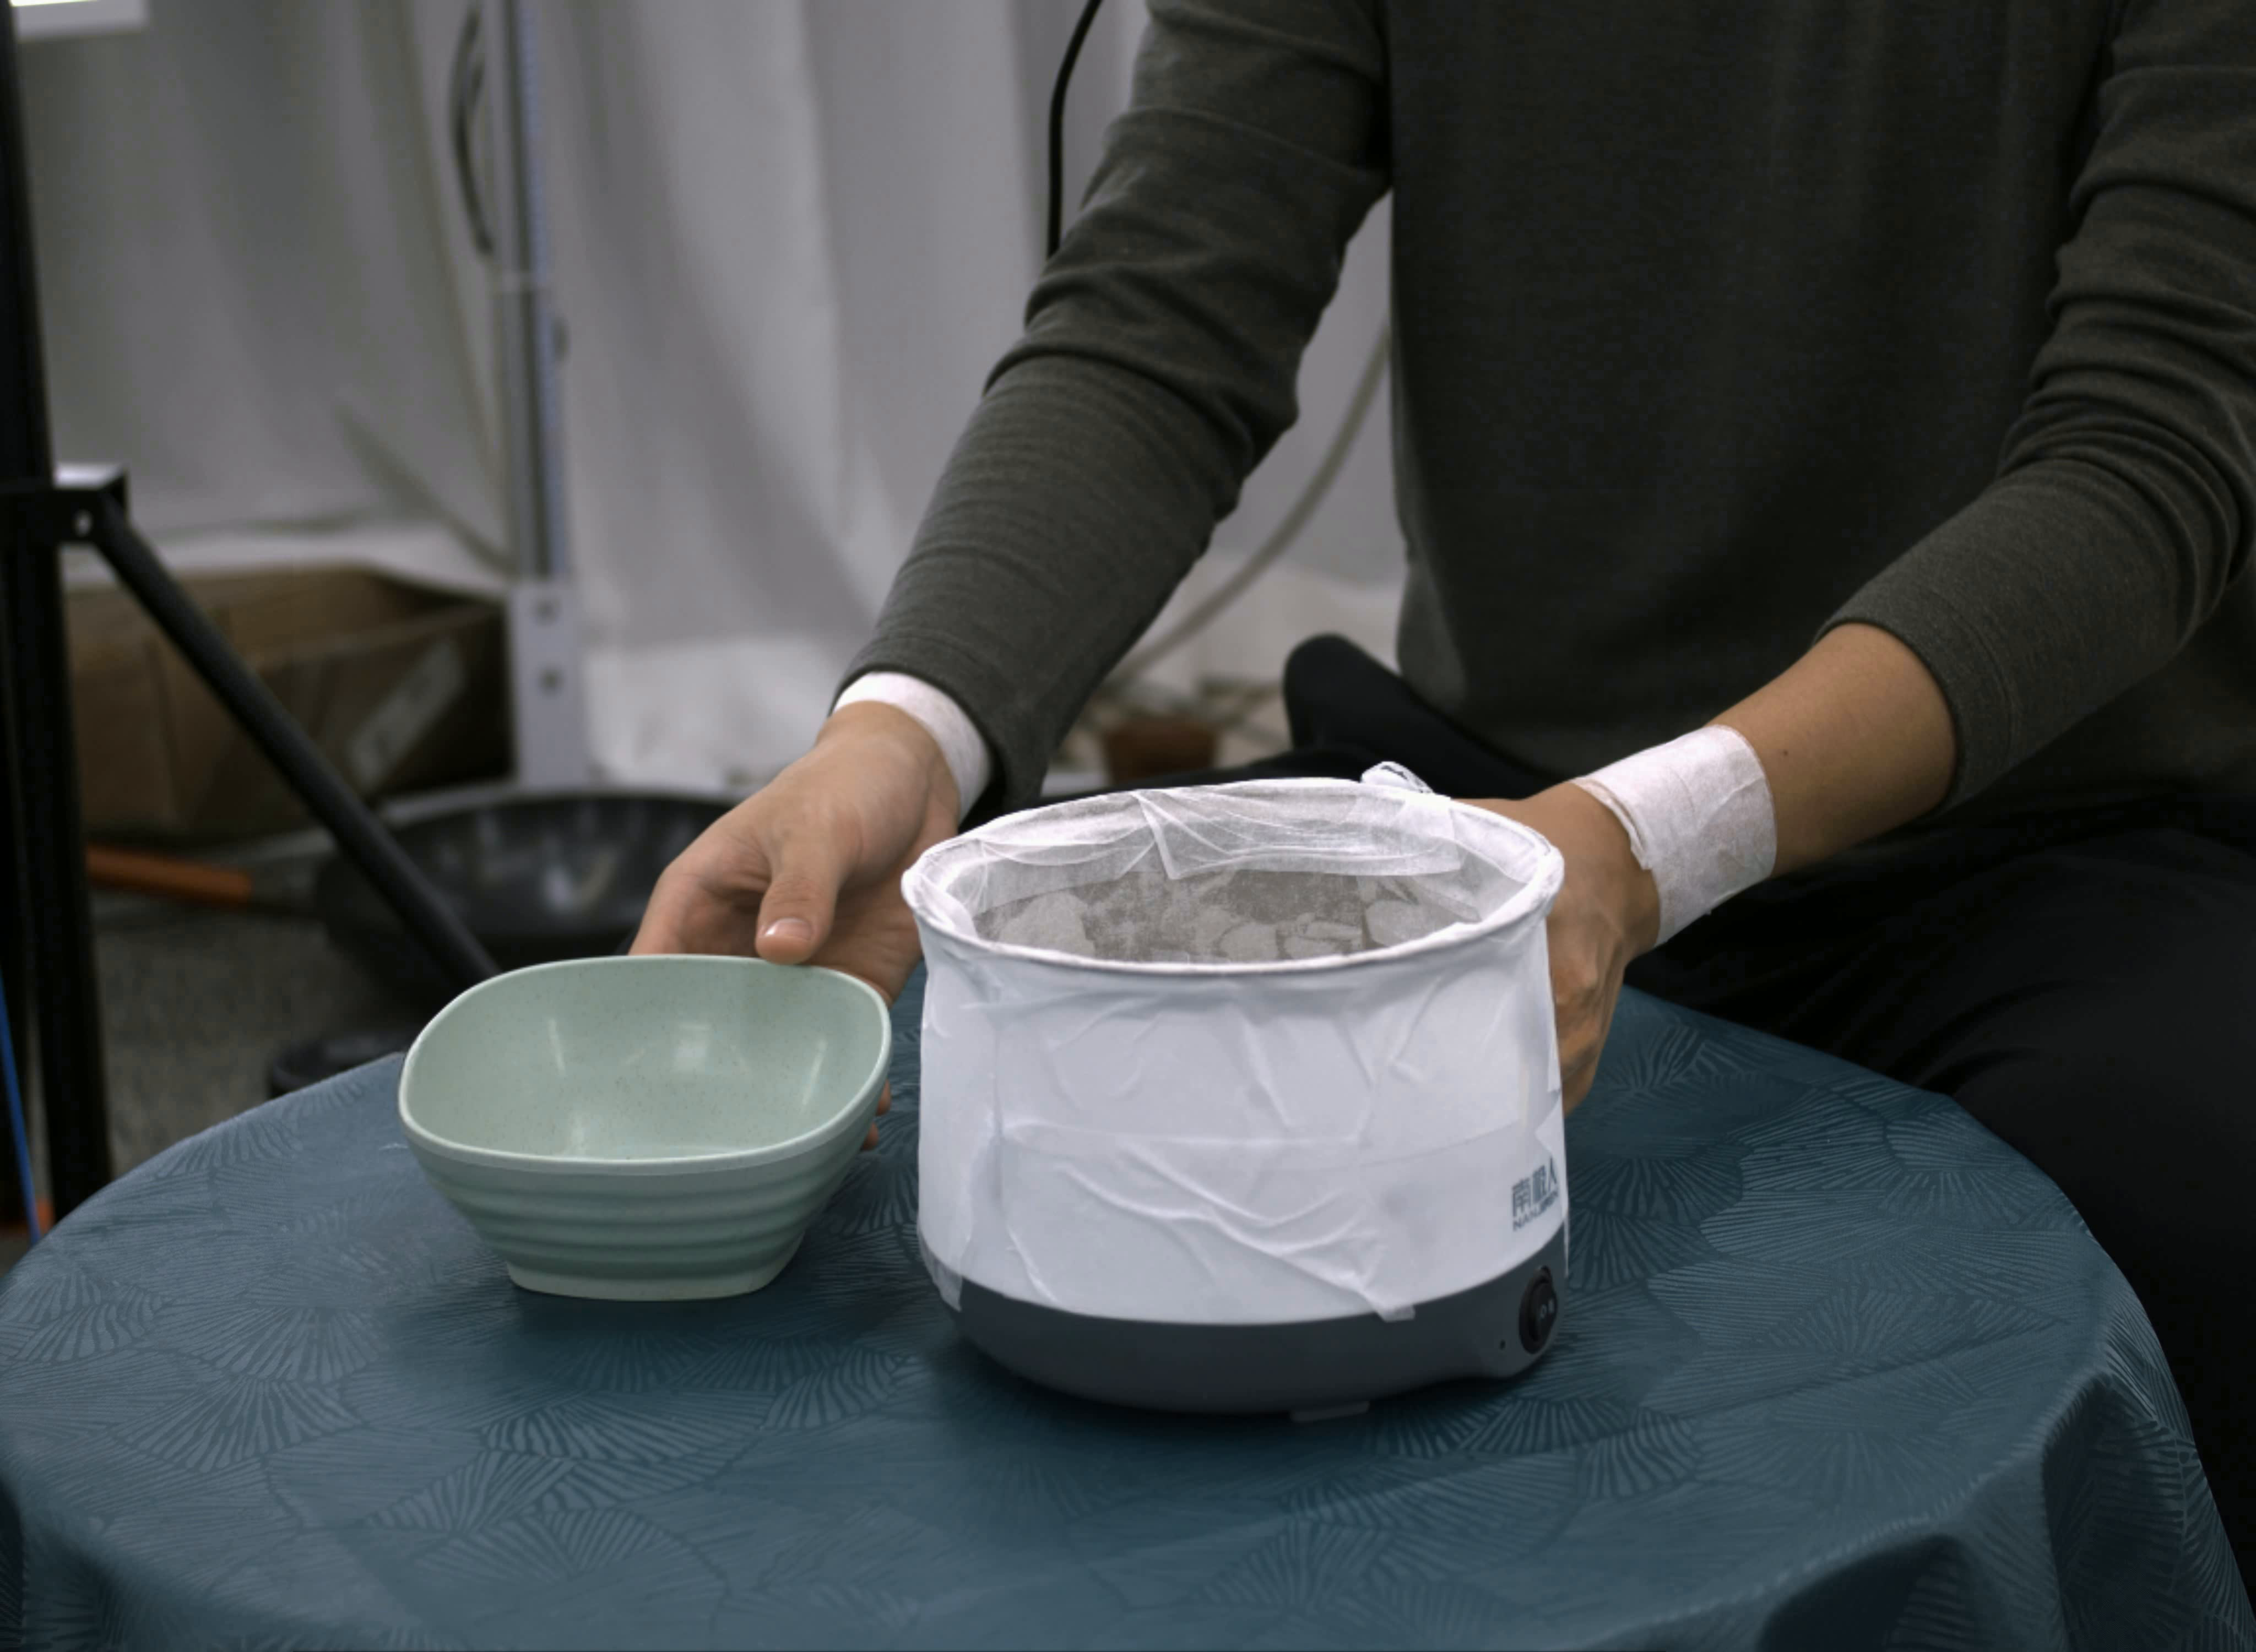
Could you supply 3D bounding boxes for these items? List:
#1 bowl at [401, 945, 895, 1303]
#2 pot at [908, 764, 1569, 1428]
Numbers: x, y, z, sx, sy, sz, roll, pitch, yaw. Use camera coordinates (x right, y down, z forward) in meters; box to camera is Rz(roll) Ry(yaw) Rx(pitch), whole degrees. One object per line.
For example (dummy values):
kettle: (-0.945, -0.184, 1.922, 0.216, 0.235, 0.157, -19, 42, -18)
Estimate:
bowl: (-0.135, 0.090, 1.523, 0.151, 0.058, 0.152, -3, 25, 0)
pot: (0.043, 0.067, 1.454, 0.181, 0.136, 0.230, 6, 17, 27)
